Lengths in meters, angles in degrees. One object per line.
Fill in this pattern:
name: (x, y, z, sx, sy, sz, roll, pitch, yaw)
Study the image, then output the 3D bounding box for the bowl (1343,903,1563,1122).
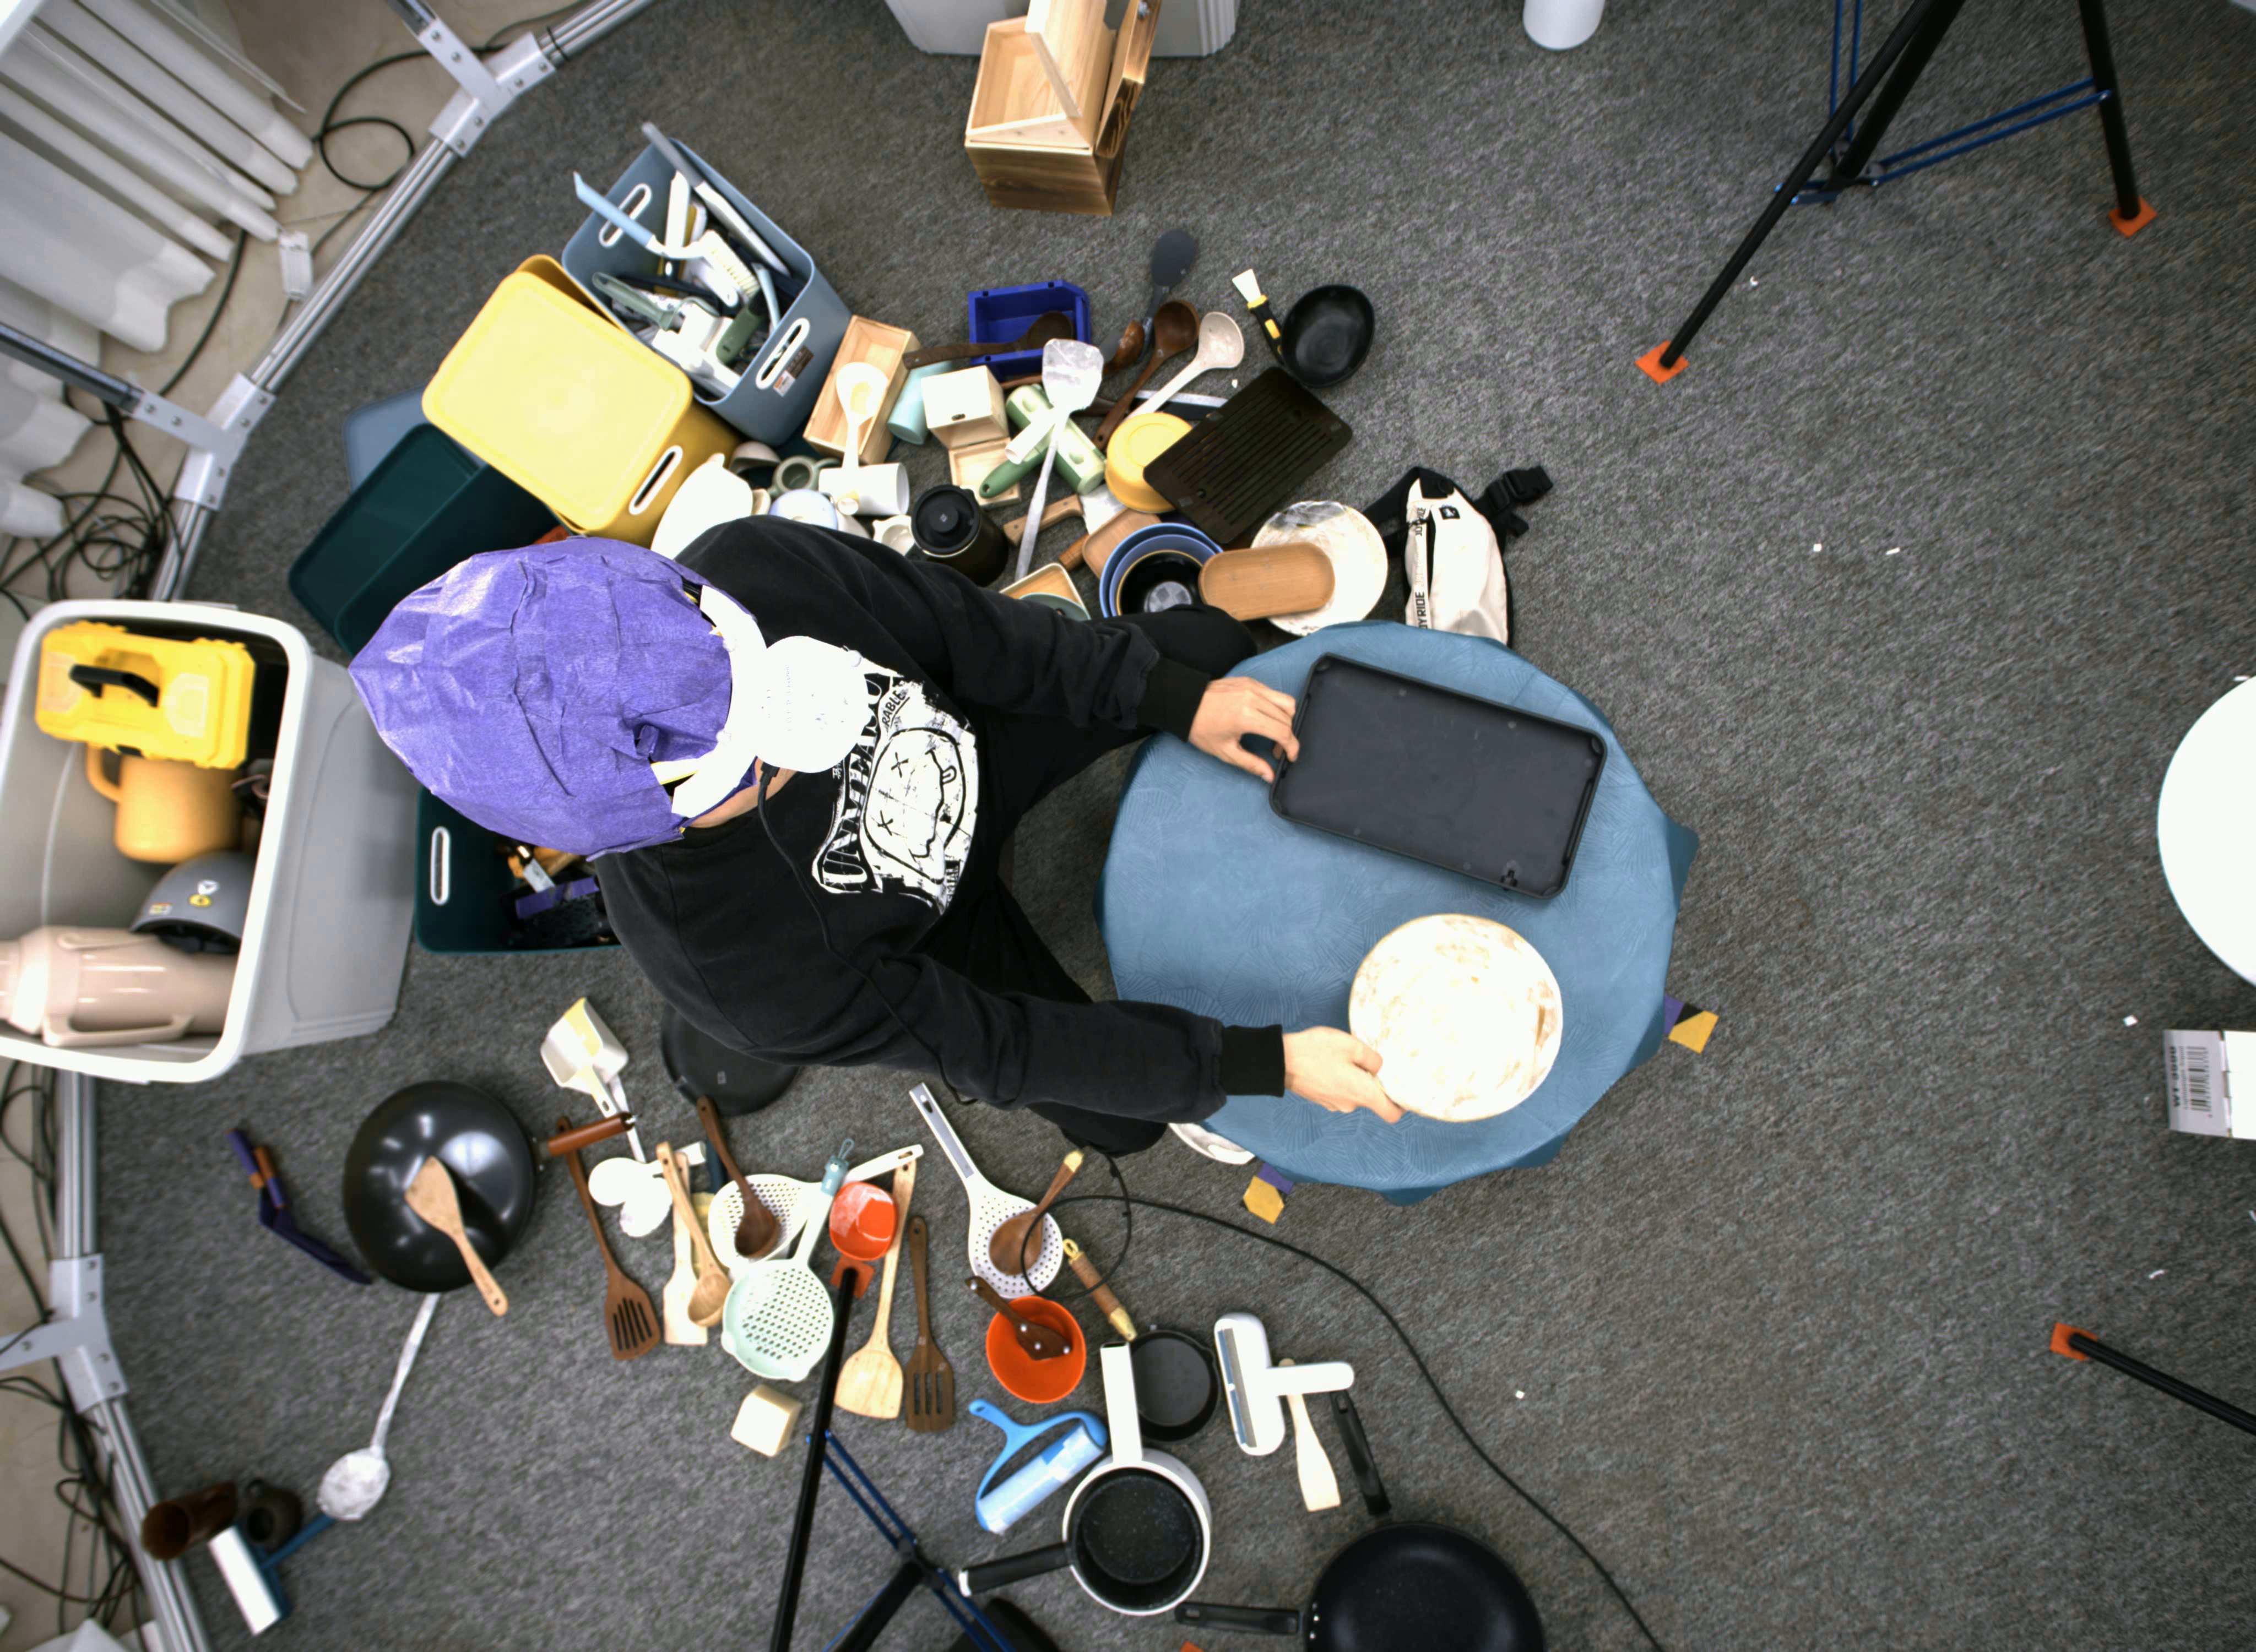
bowl: (0.319, 0.185, 1.366, 0.215, 0.095, 0.212, -2, 79, 11)

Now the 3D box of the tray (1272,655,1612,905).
tray: (0.326, -0.051, 1.442, 0.318, 0.037, 0.184, 19, 91, 11)
